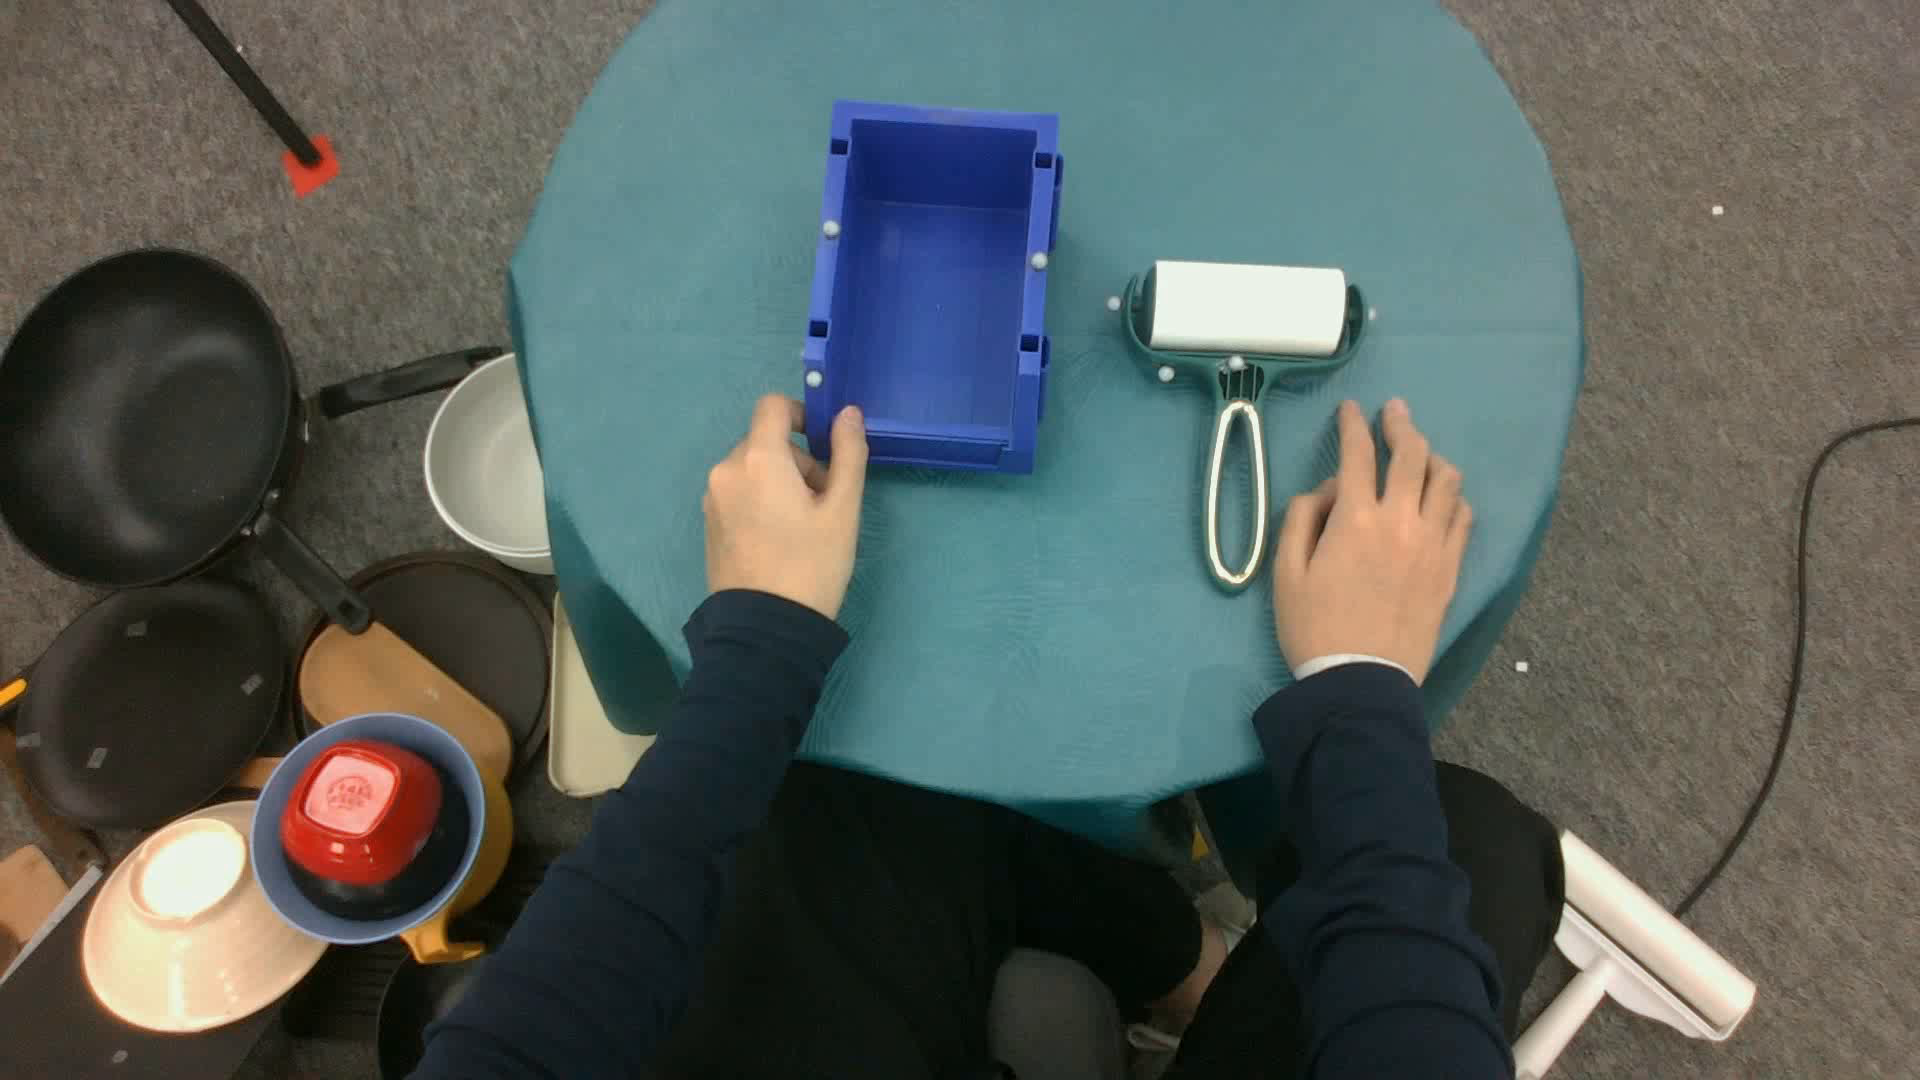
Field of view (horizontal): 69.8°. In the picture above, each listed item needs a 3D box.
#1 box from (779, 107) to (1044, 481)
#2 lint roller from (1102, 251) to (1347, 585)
[{"bbox_3d":[-0.024,-0.127,0.737,0.124,0.081,0.180,6,70,0],"label":"box"},{"bbox_3d":[0.140,-0.068,0.741,0.134,0.048,0.180,3,77,0],"label":"lint roller"}]
